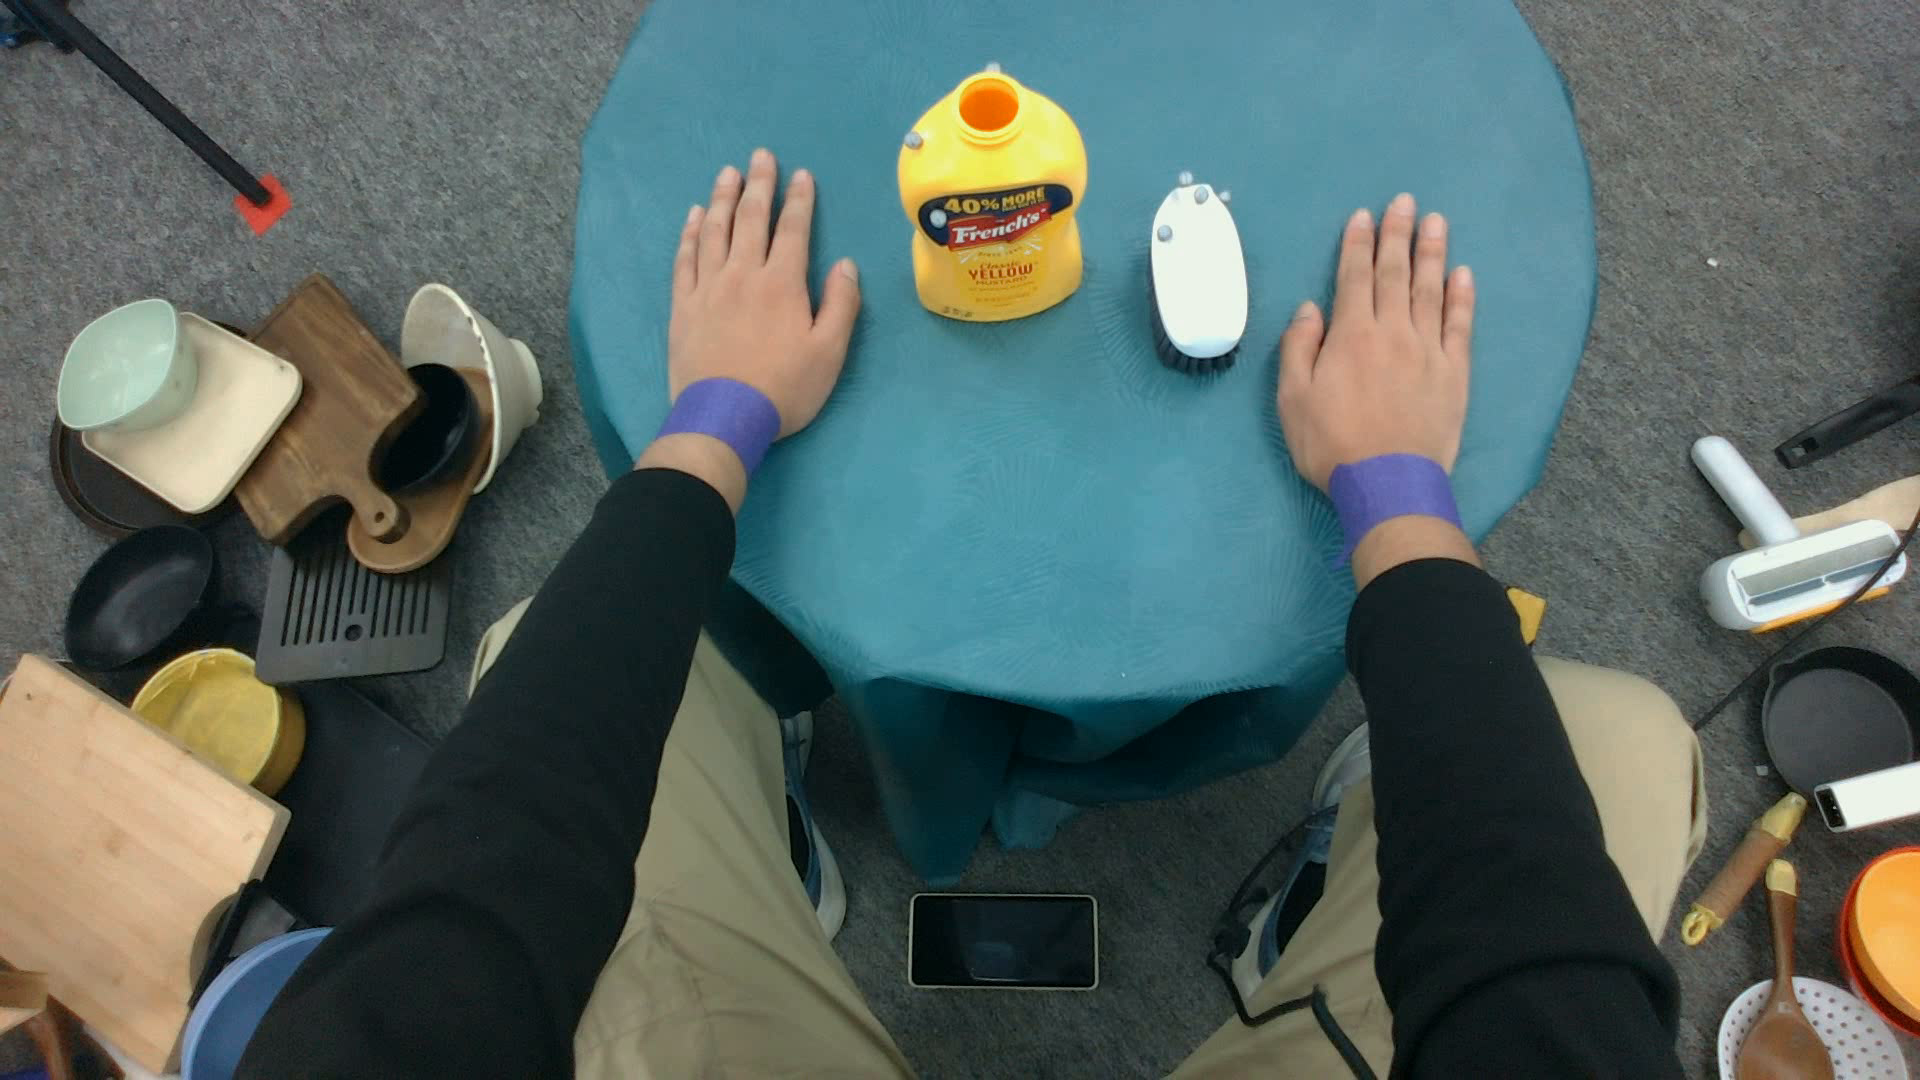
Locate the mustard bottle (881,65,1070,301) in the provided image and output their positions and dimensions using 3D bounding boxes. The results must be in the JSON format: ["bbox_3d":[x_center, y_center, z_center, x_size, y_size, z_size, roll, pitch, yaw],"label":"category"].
[{"bbox_3d":[0.010,-0.186,0.723,0.098,0.171,0.059,-9,76,-2],"label":"mustard bottle"}]

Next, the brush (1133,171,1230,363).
[{"bbox_3d":[0.123,-0.157,0.759,0.050,0.072,0.099,-4,72,3],"label":"brush"}]
